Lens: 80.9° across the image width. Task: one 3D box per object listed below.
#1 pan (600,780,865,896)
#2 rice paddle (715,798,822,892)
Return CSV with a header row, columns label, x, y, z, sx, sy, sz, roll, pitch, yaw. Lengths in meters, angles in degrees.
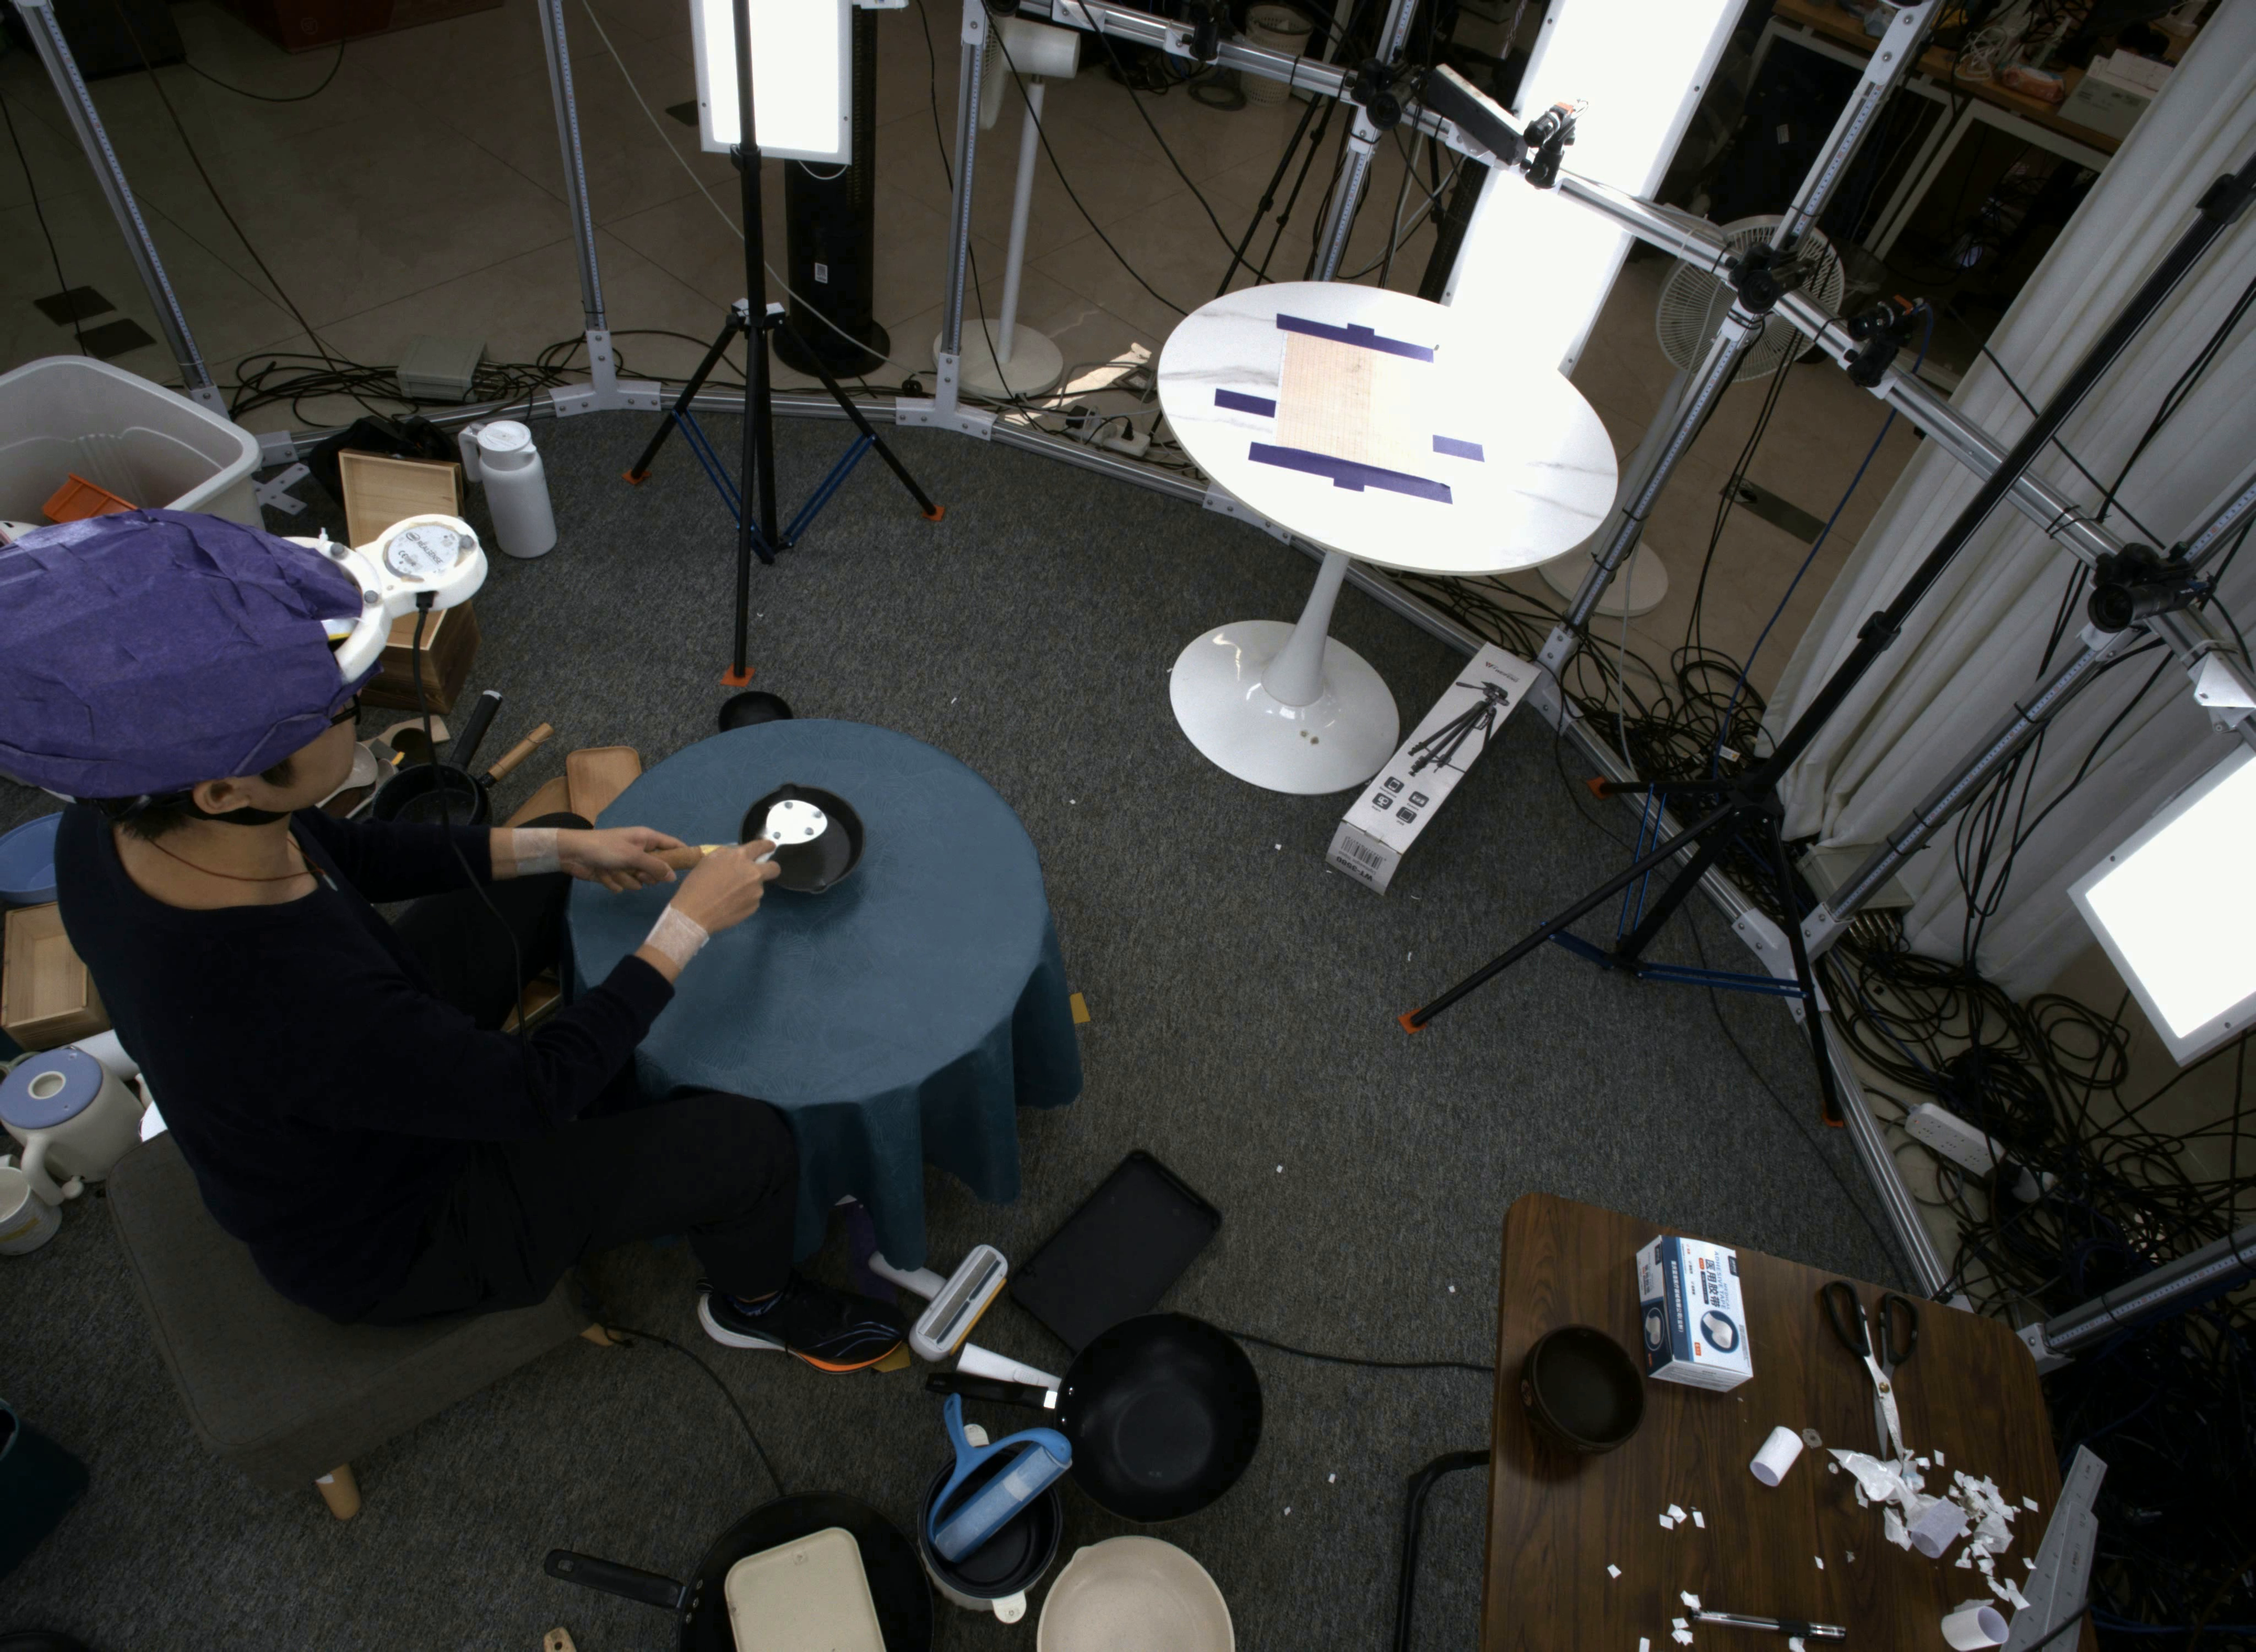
label,x,y,z,sx,sy,sz,roll,pitch,yaw
pan,-0.487,0.028,1.594,0.327,0.050,0.166,-8,63,-25
rice paddle,-0.429,0.014,1.552,0.068,0.030,0.203,31,31,-1
